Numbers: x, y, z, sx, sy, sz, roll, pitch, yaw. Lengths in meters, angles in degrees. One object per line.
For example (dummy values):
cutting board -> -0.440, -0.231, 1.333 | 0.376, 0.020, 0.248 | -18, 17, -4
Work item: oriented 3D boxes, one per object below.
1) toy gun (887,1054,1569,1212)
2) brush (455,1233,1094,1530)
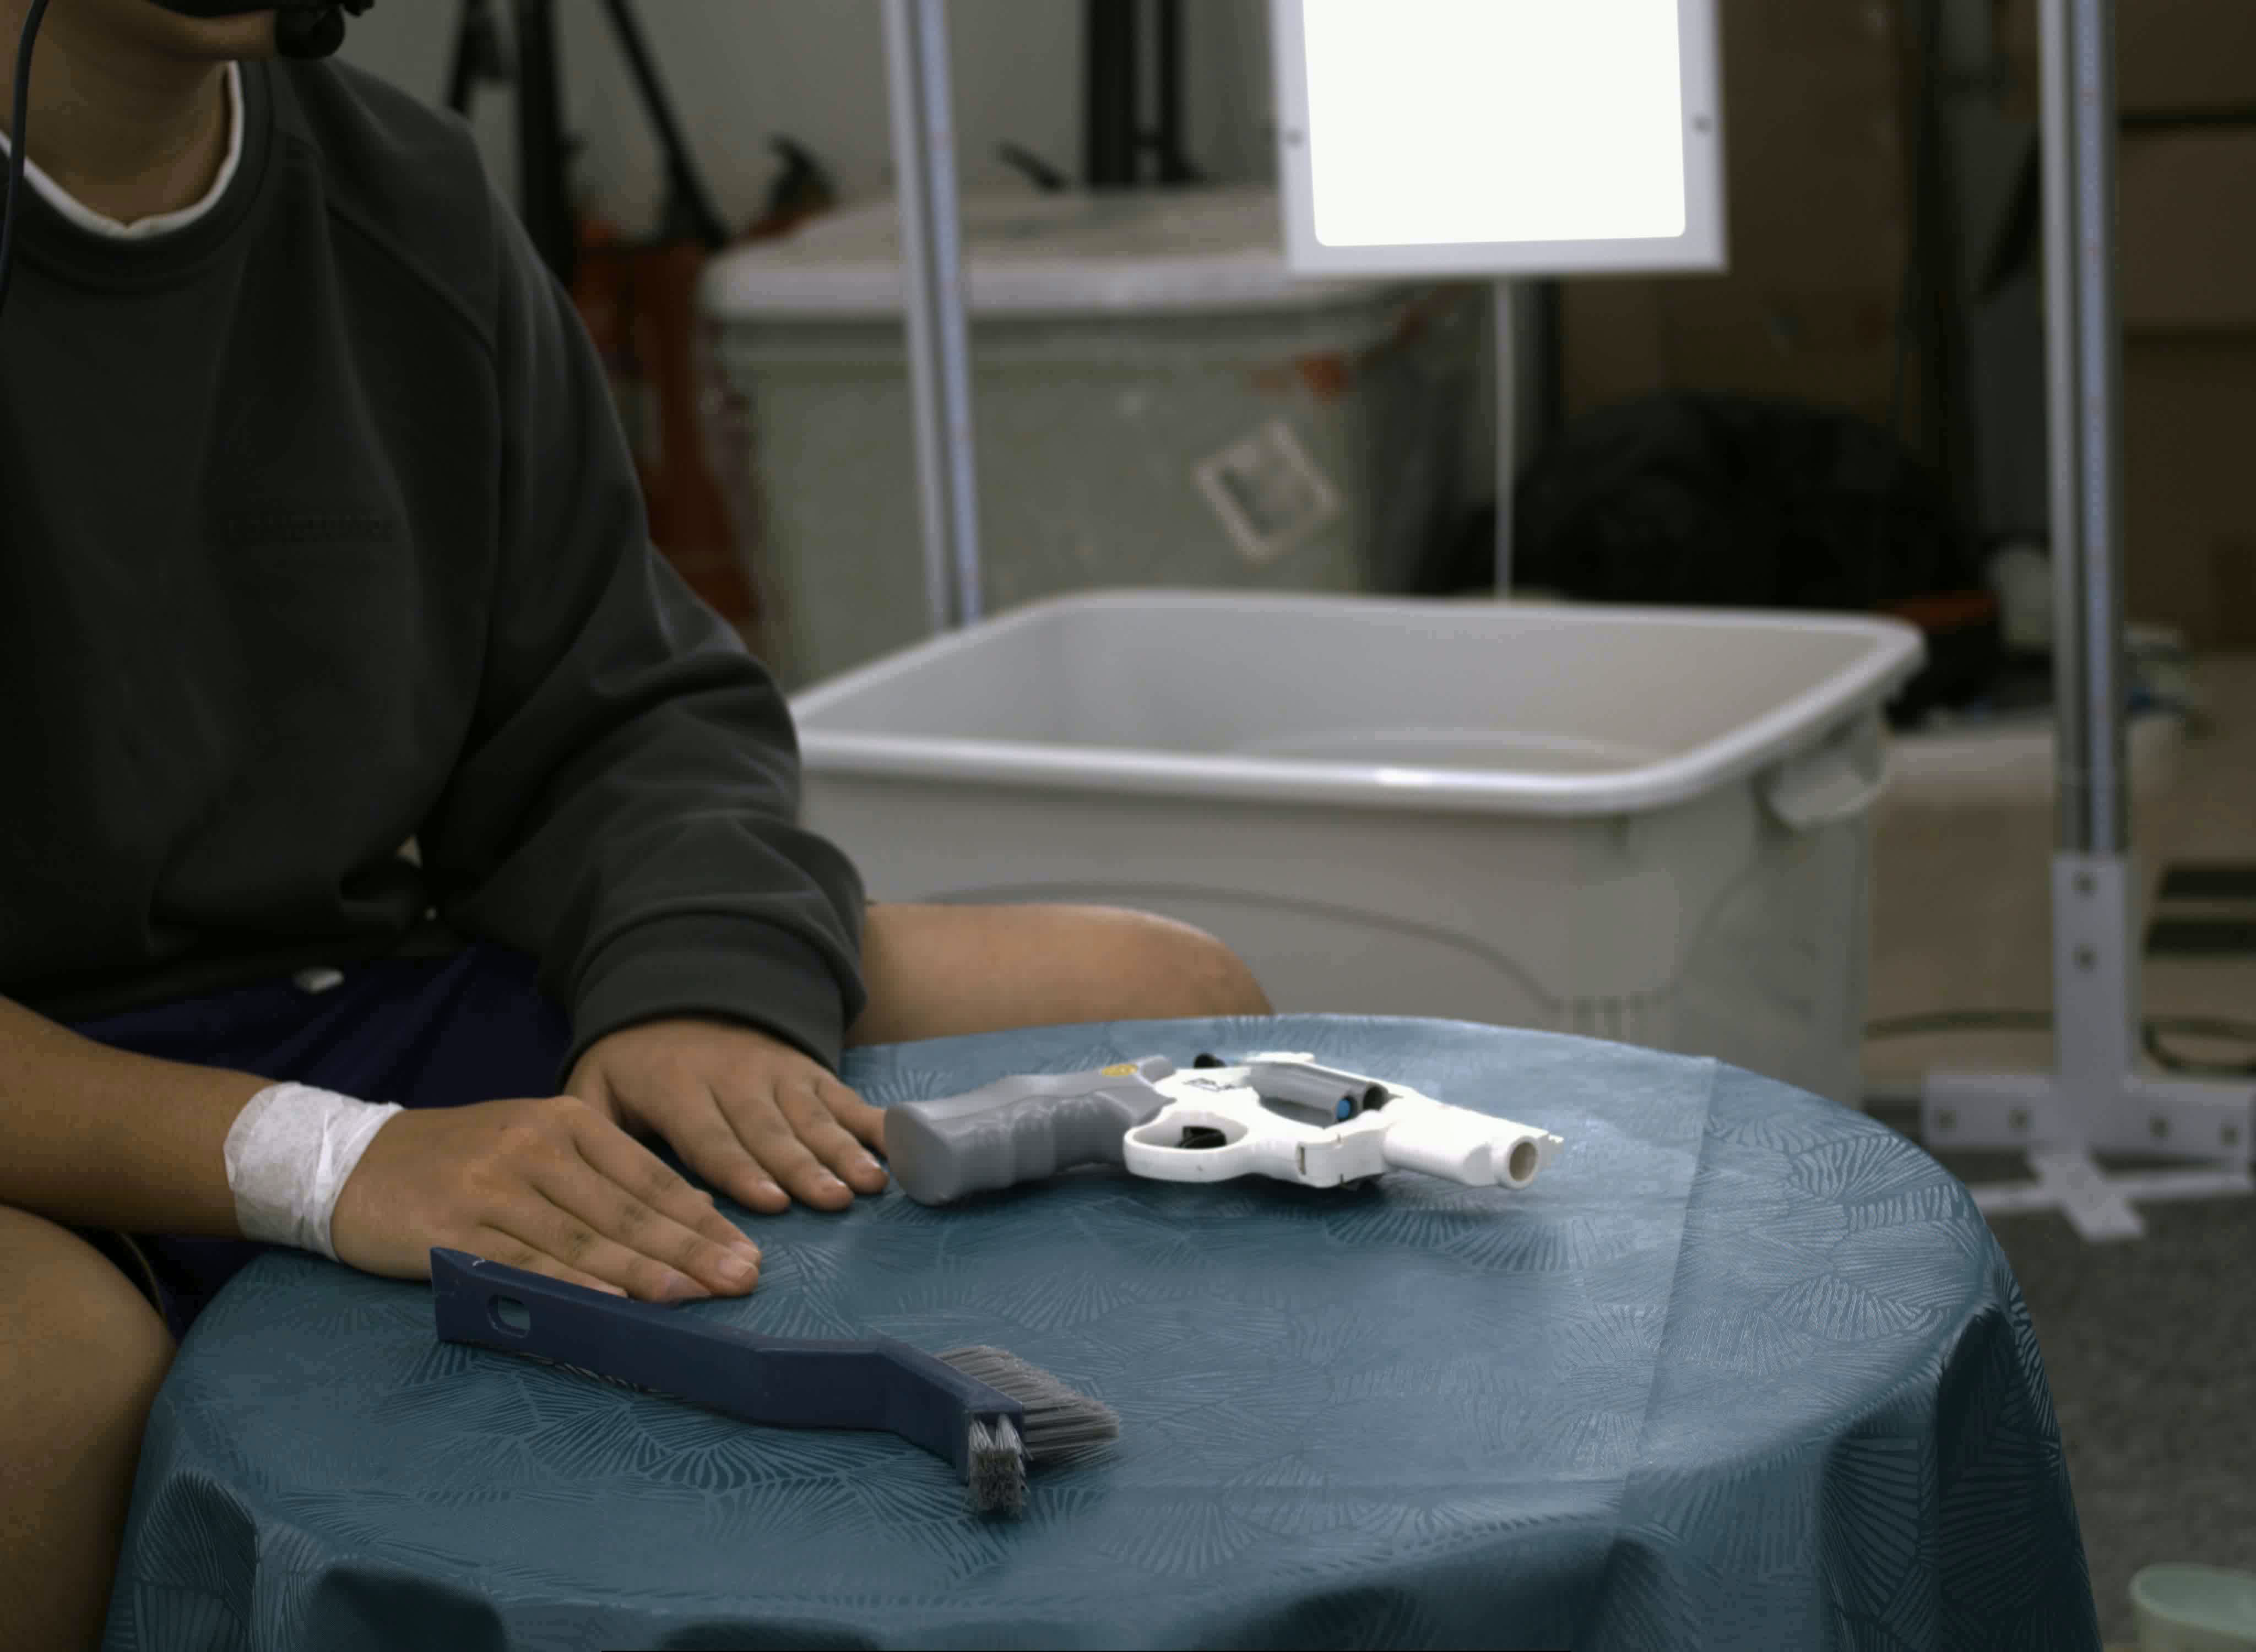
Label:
toy gun -> 0.030, 0.108, 1.881 | 0.138, 0.039, 0.213 | -18, 18, -39
brush -> -0.127, 0.168, 1.706 | 0.279, 0.033, 0.093 | 6, 18, 38
